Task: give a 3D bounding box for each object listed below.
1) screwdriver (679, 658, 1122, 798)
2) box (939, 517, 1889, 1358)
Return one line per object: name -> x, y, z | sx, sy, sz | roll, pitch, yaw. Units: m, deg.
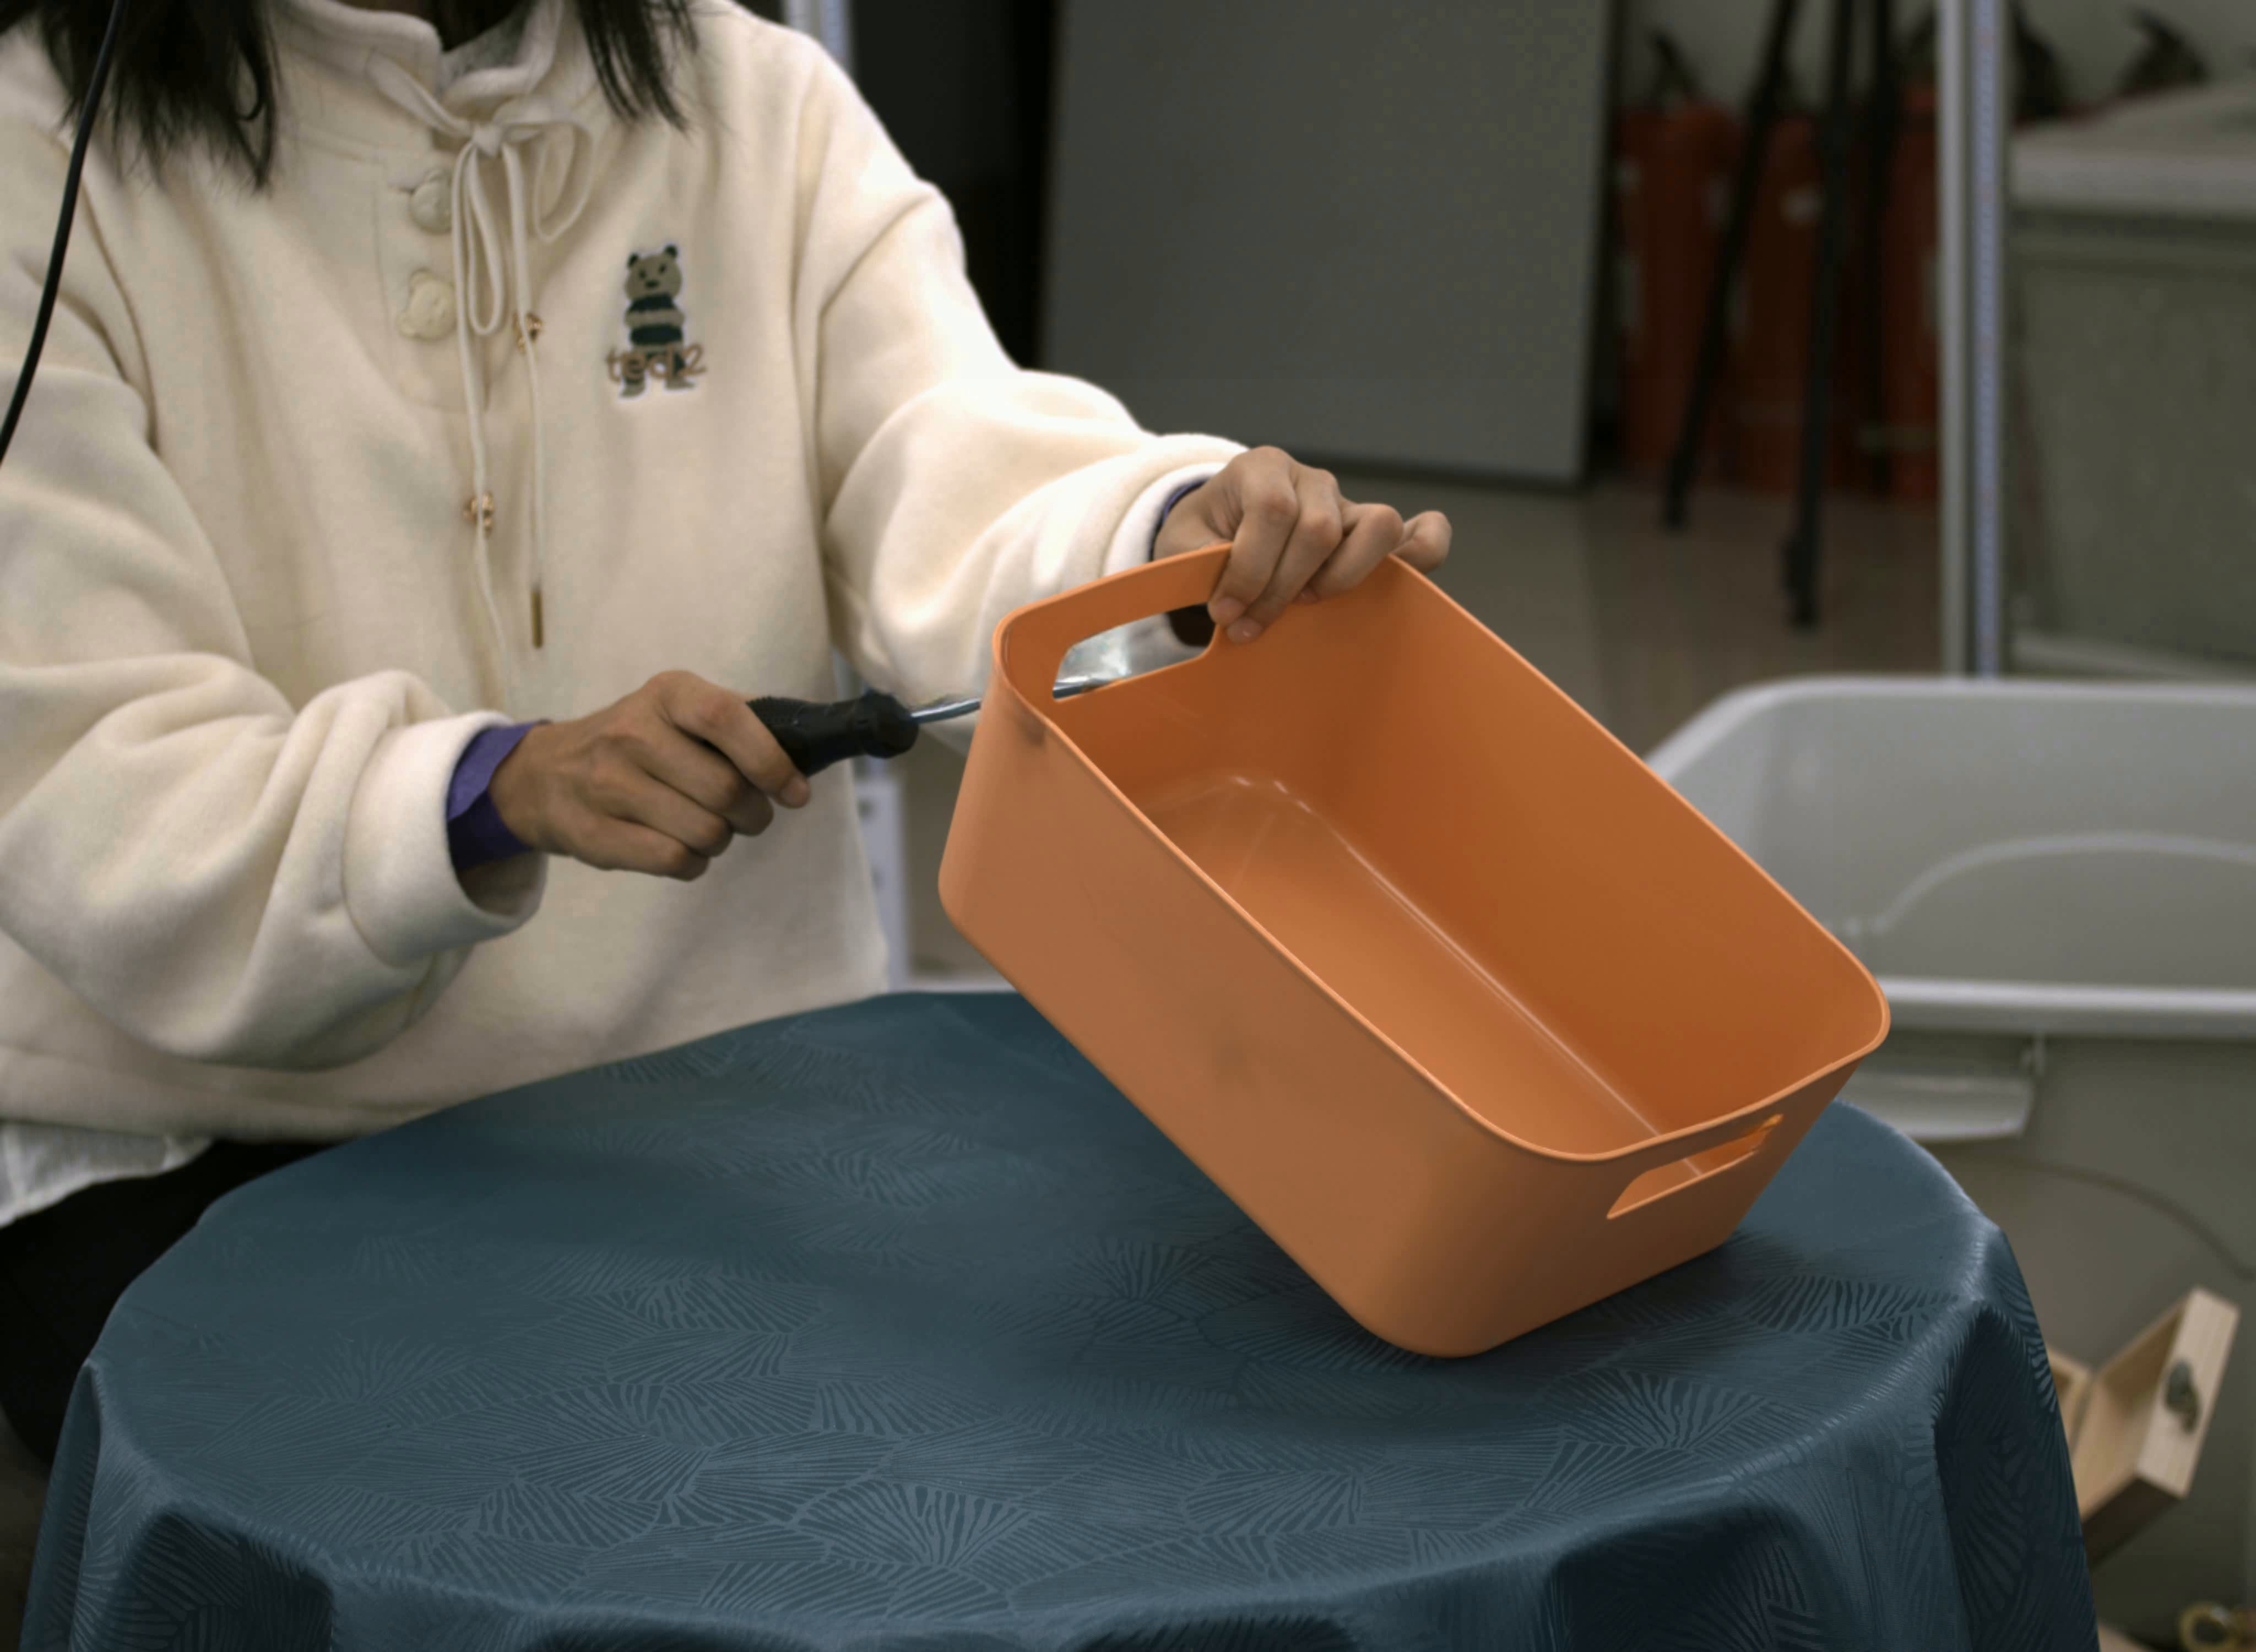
screwdriver -> -0.077, -0.034, 1.761 | 0.199, 0.032, 0.031 | -10, 5, 45
box -> 0.081, 0.033, 1.663 | 0.195, 0.103, 0.276 | -18, 51, -43
